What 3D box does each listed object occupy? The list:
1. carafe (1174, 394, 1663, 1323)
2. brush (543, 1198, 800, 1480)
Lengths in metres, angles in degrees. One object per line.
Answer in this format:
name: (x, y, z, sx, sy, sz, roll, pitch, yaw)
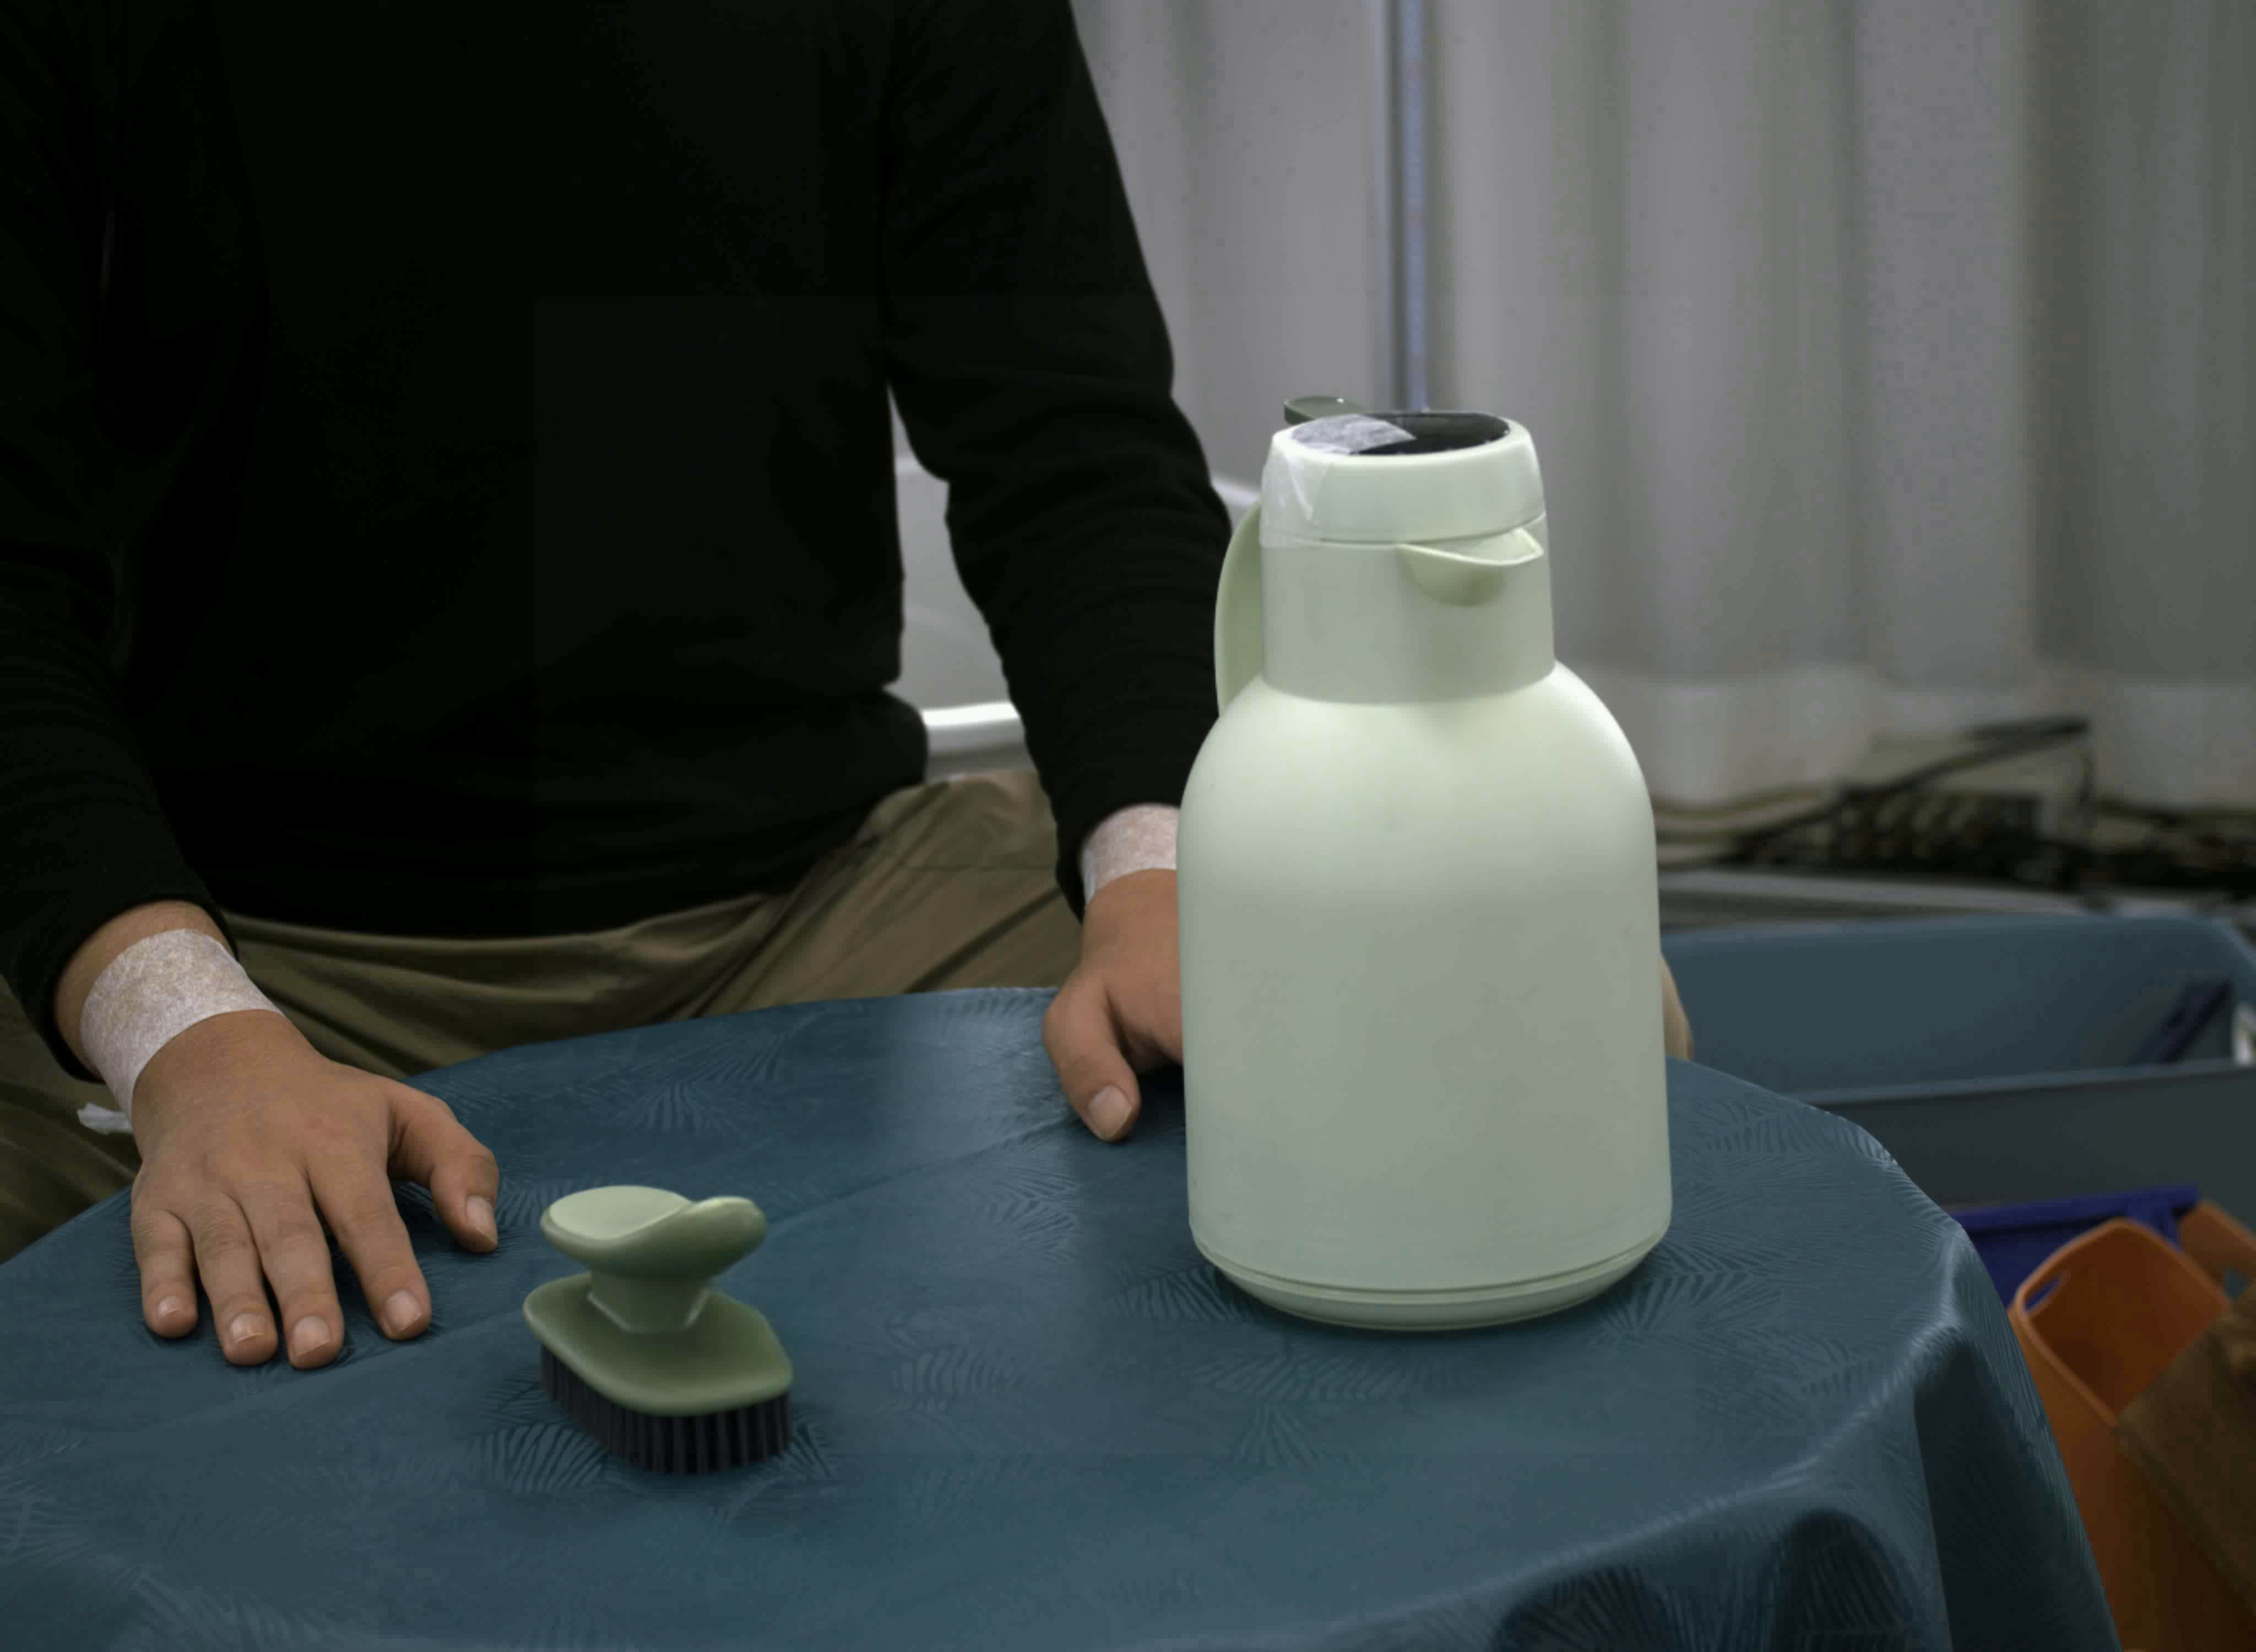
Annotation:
carafe: (0.078, 0.004, 1.618, 0.143, 0.256, 0.188, -8, 12, -22)
brush: (-0.129, 0.143, 1.545, 0.059, 0.076, 0.123, -9, -2, -19)
